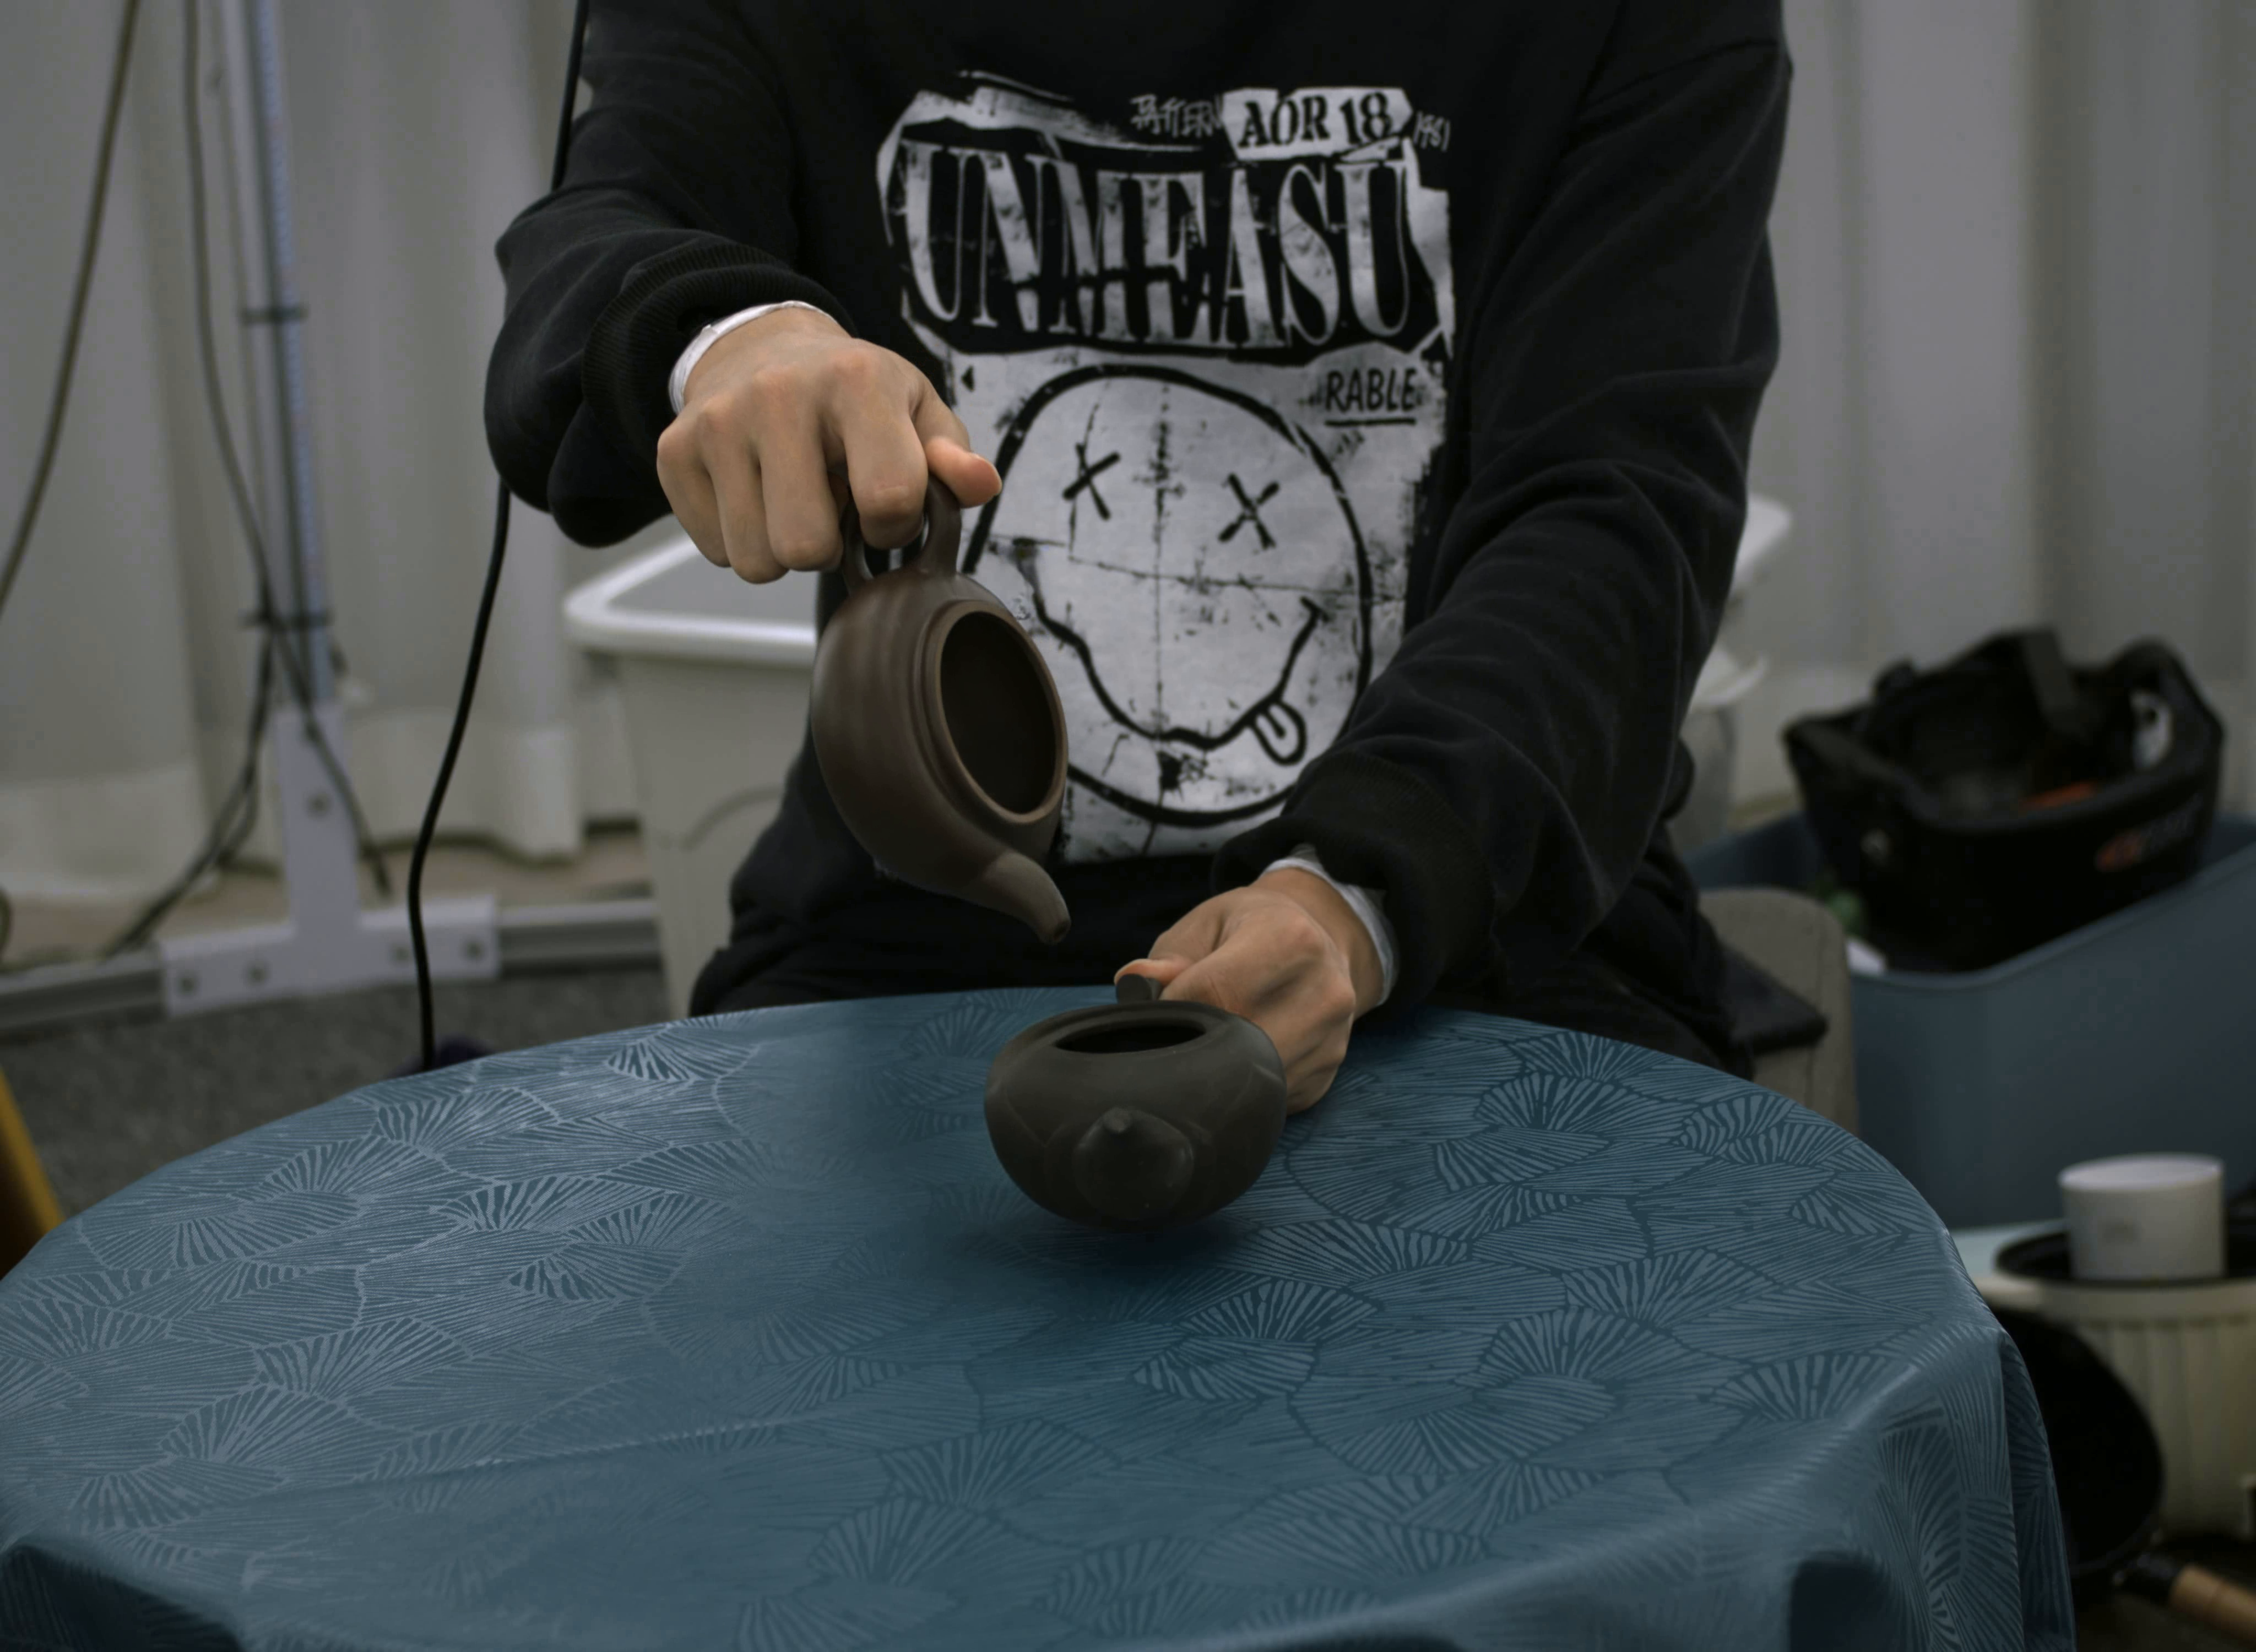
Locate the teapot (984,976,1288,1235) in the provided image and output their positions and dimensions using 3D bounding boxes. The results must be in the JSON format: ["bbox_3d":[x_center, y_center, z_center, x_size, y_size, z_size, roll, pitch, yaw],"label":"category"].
[{"bbox_3d":[0.003,0.086,1.665,0.092,0.064,0.155,-1,15,5],"label":"teapot"}]

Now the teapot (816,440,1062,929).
[{"bbox_3d":[-0.057,-0.042,1.672,0.054,0.153,0.103,-7,10,29],"label":"teapot"}]
